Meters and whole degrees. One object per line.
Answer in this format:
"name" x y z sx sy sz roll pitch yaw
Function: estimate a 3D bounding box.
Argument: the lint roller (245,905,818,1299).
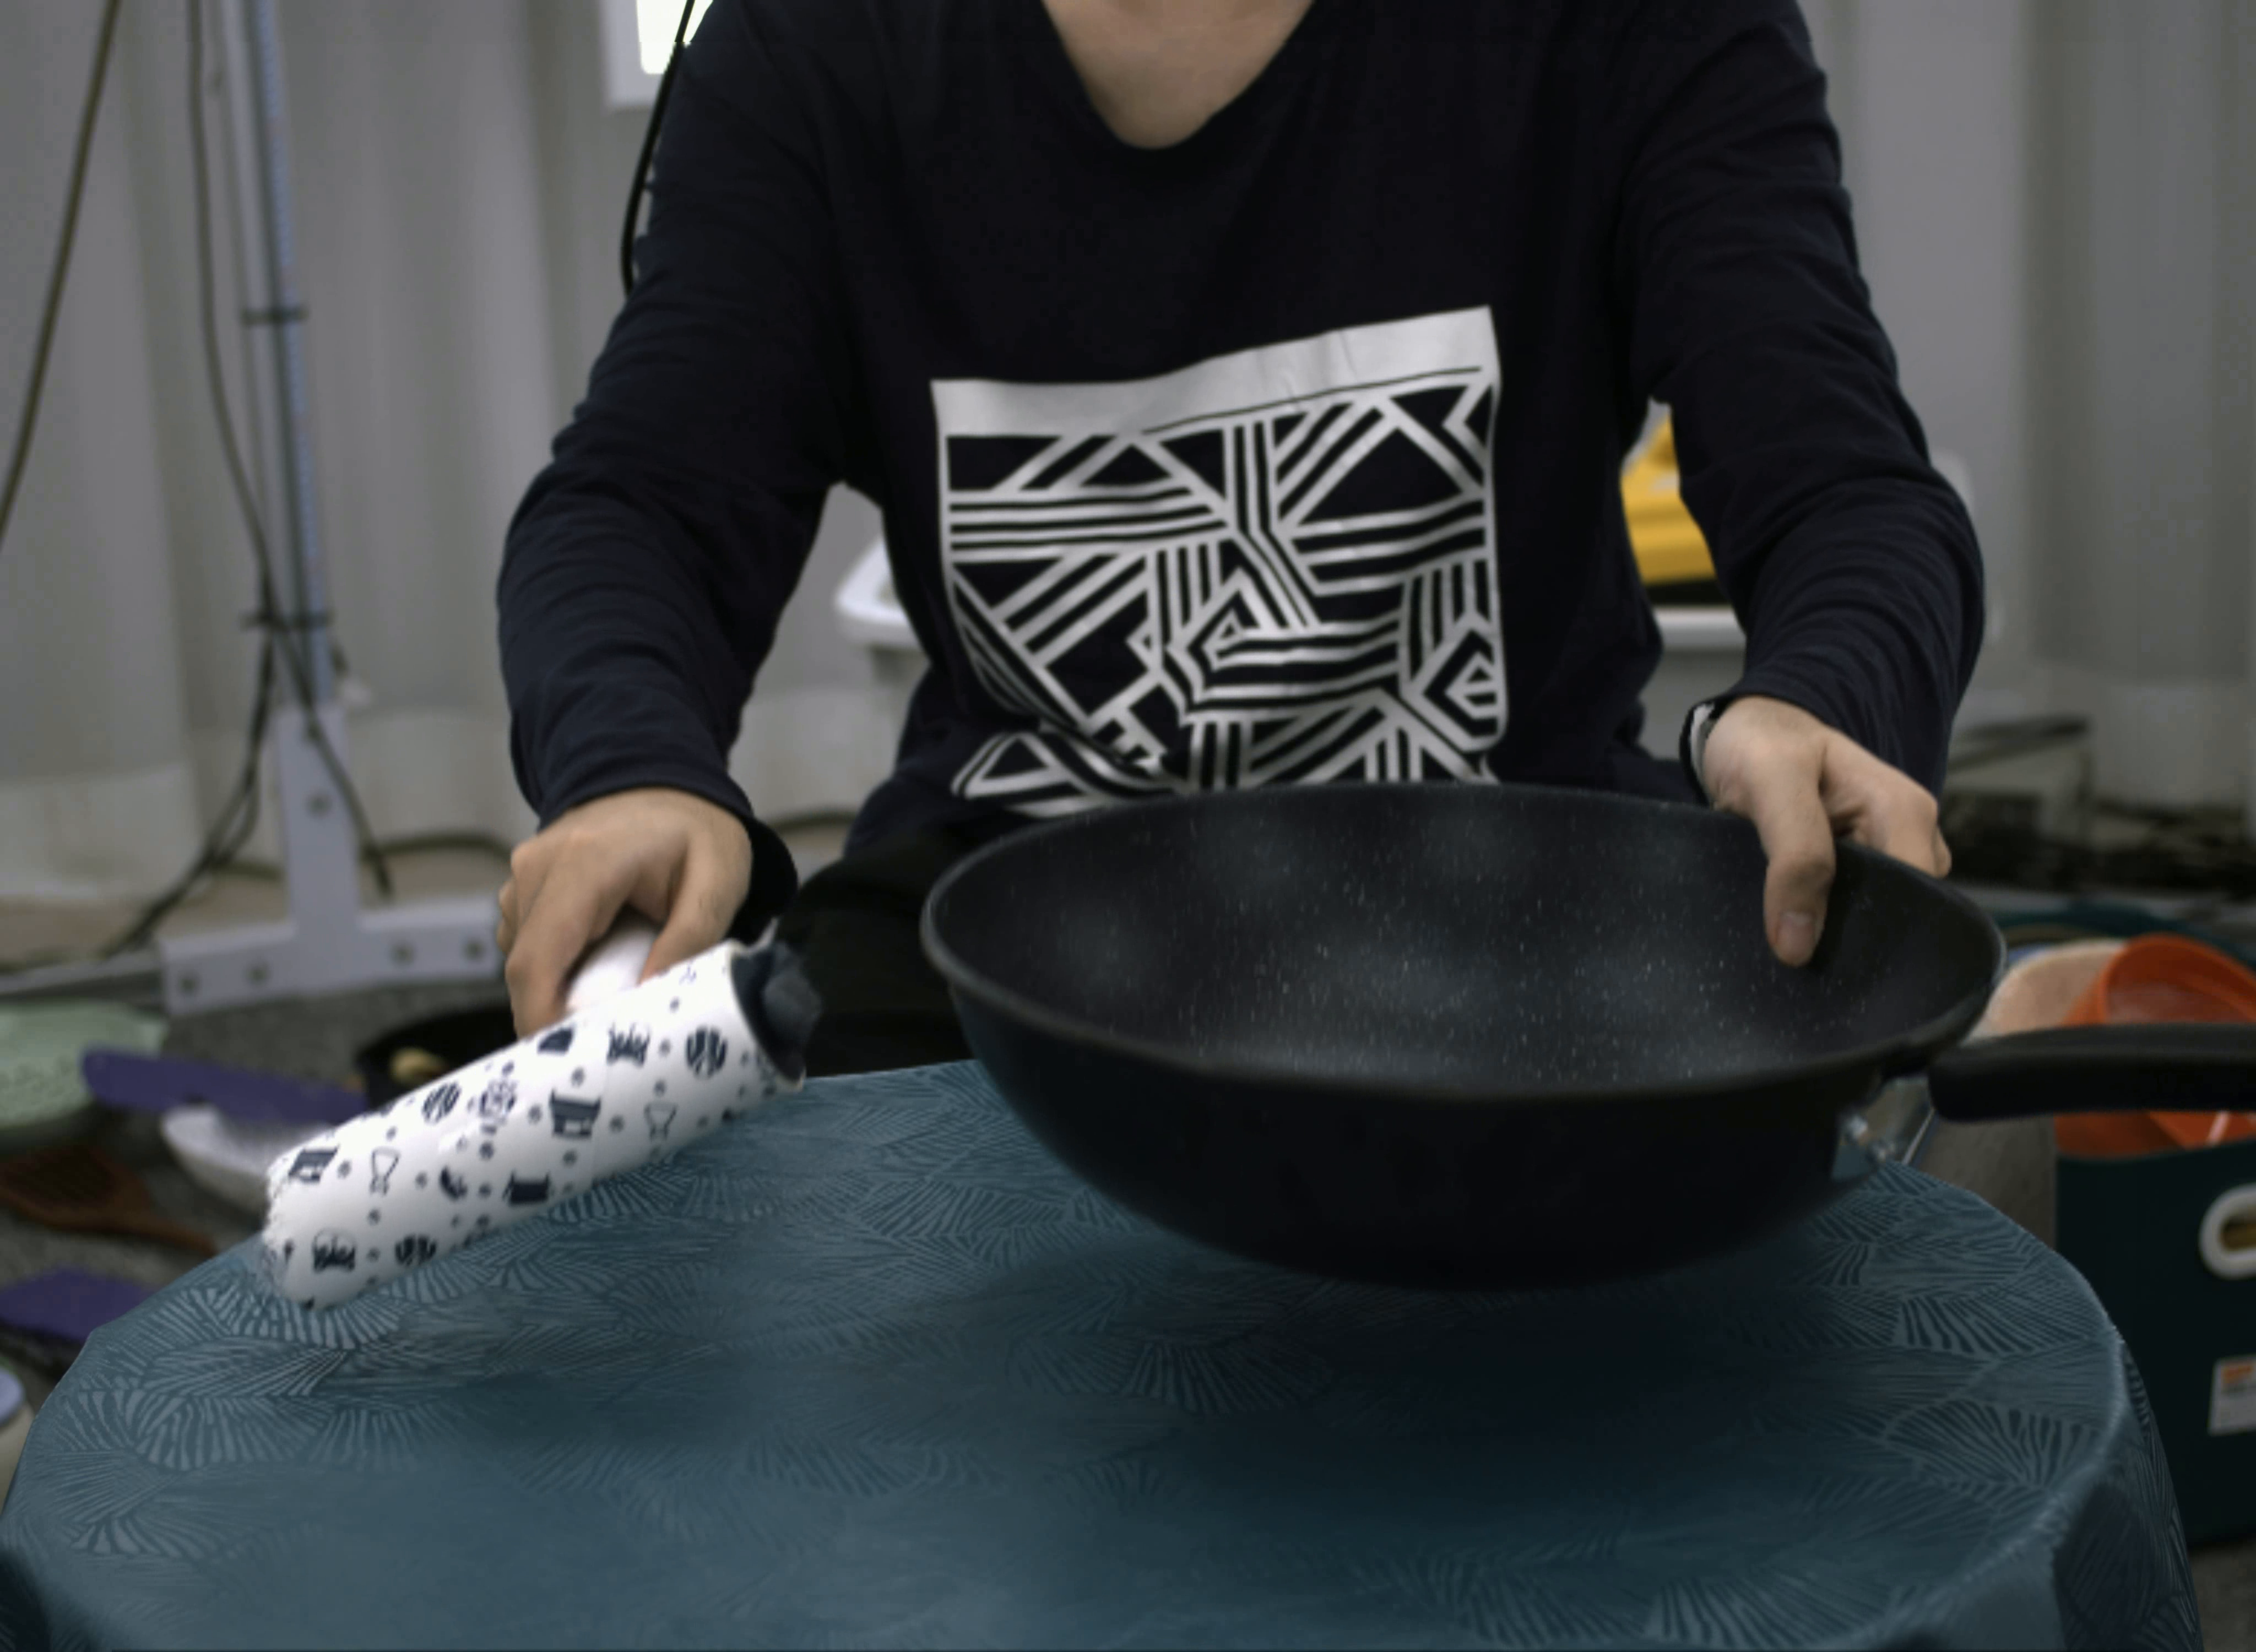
"lint roller" -0.166 0.059 1.675 0.176 0.050 0.248 -27 11 10

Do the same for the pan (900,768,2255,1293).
"pan" 0.155 0.068 1.513 0.479 0.111 0.310 12 20 37
